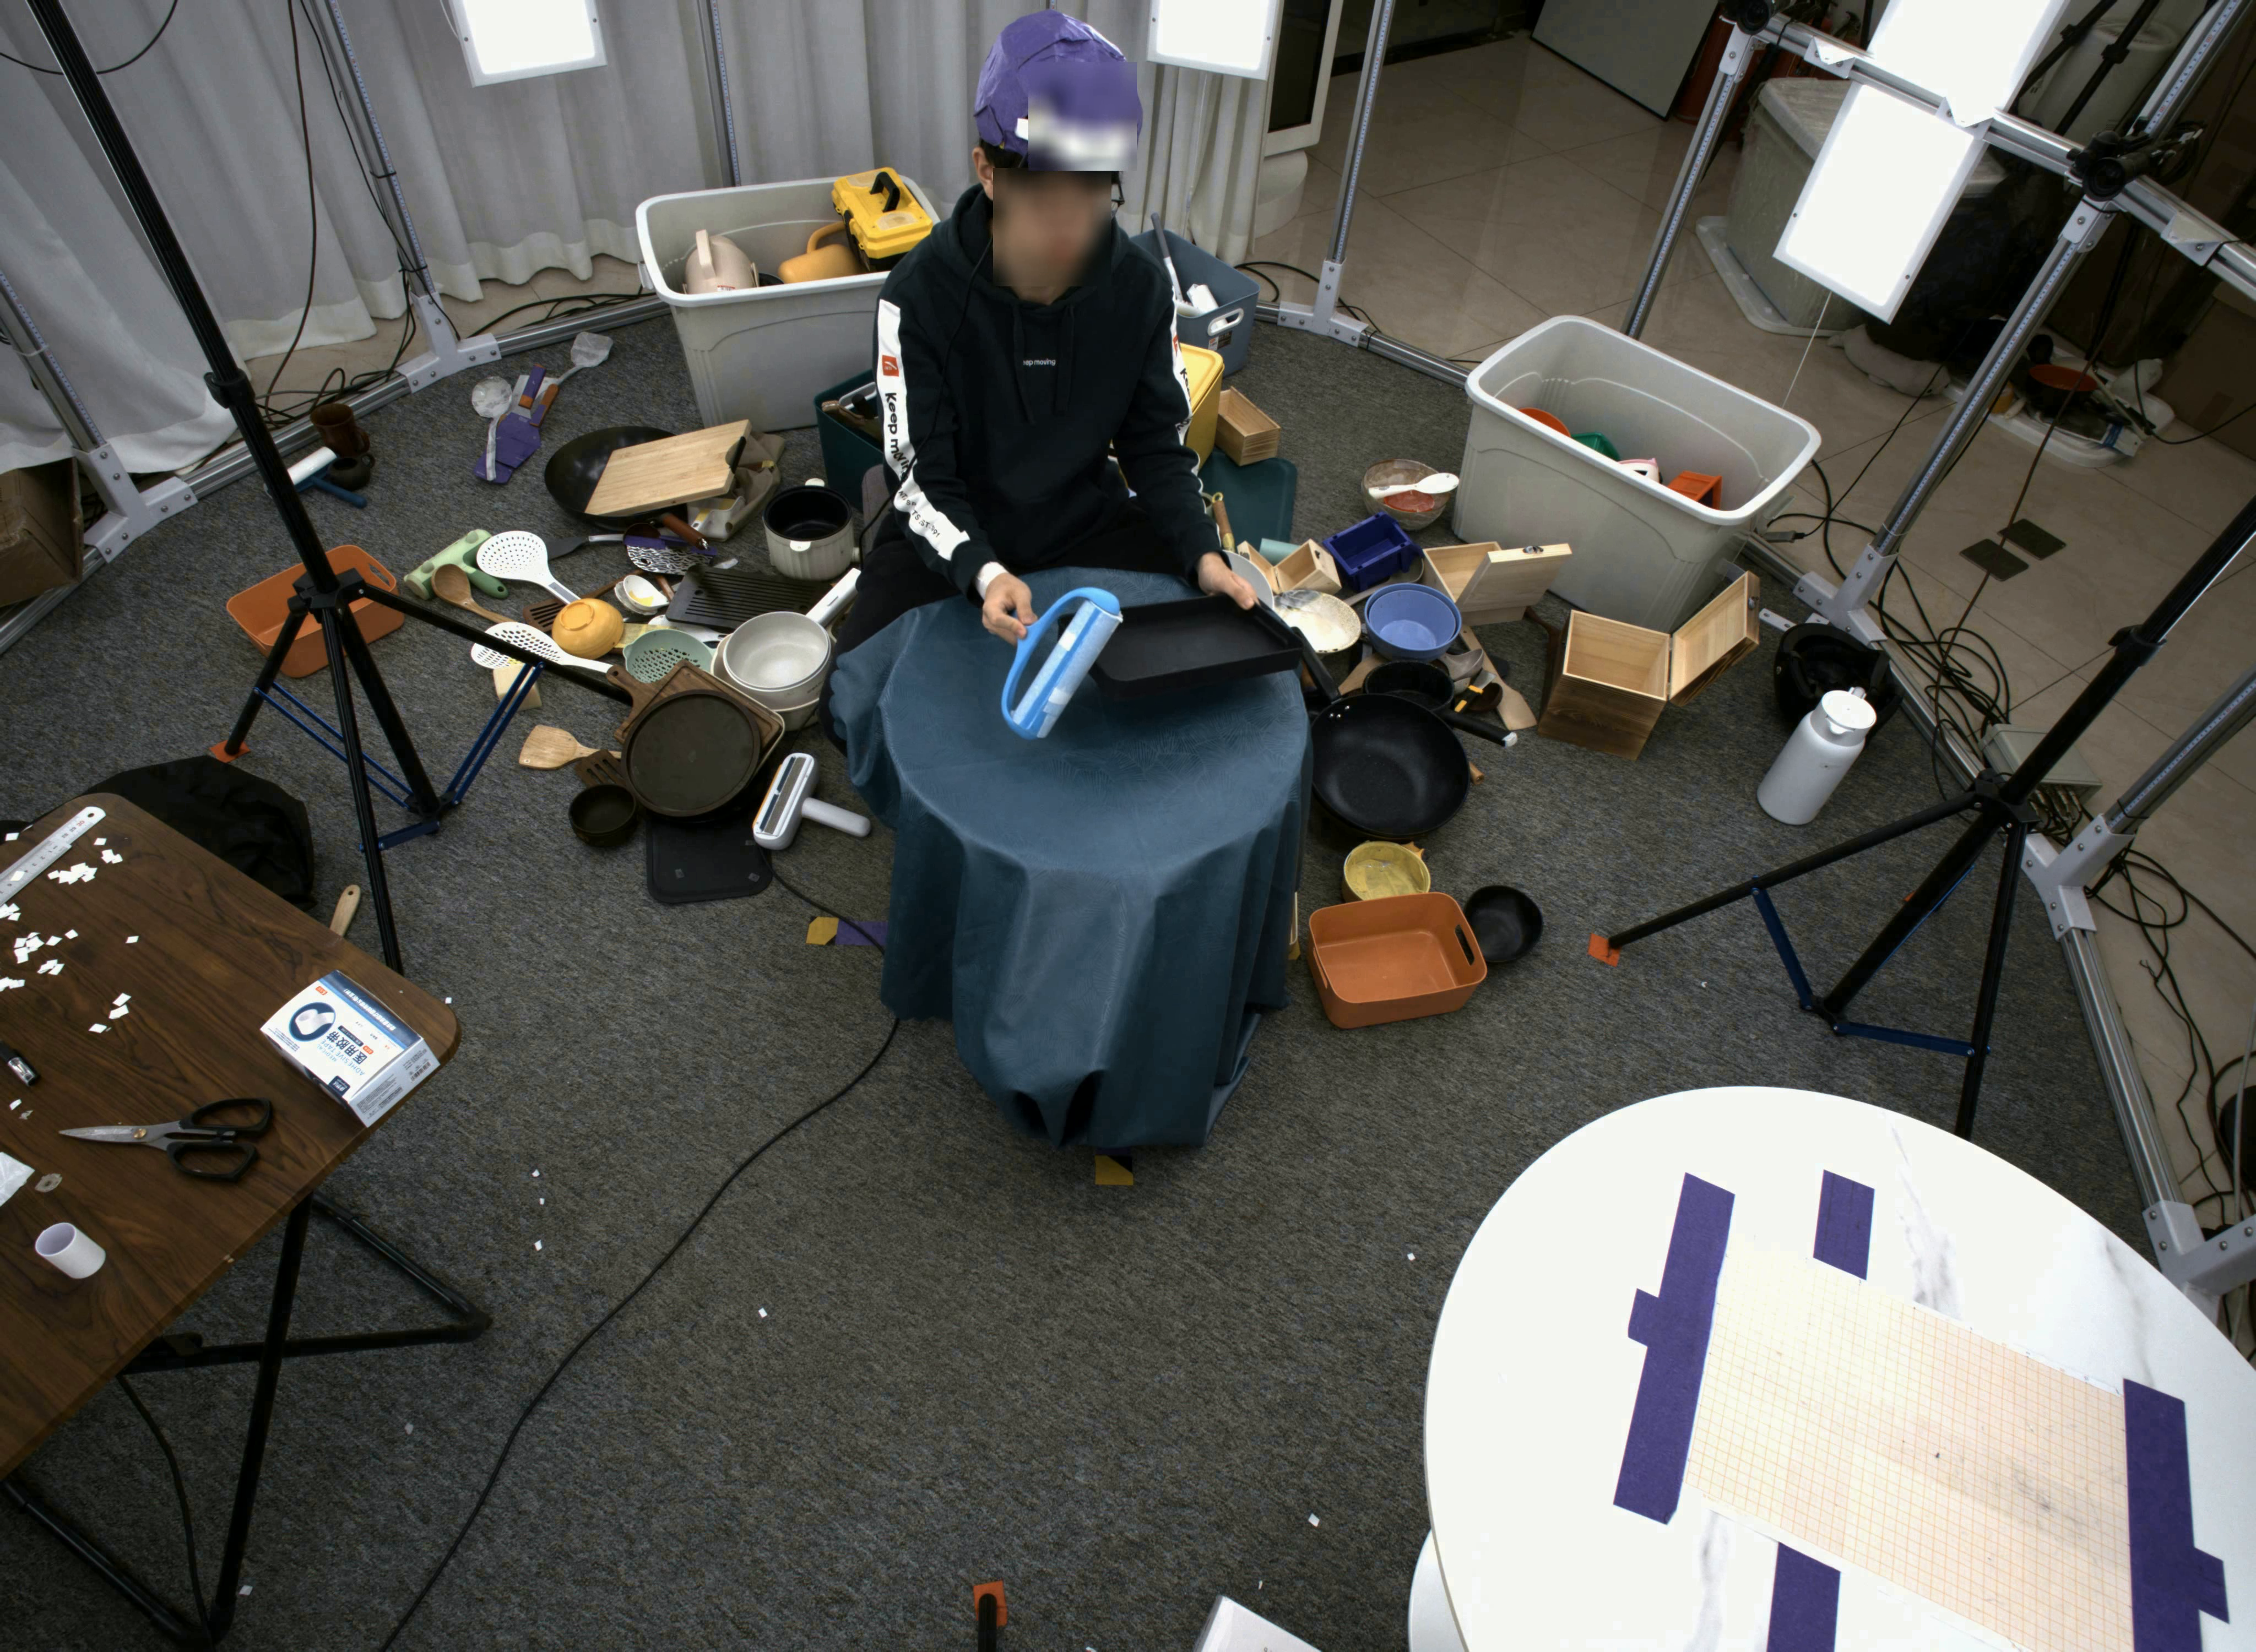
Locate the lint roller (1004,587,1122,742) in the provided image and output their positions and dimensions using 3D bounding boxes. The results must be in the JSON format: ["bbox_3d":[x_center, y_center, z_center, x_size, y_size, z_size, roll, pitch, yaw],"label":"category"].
[{"bbox_3d":[-0.117,-0.242,1.708,0.067,0.226,0.183,6,30,-51],"label":"lint roller"}]

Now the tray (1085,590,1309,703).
[{"bbox_3d":[0.078,-0.255,1.789,0.318,0.036,0.188,-15,40,-27],"label":"tray"}]
